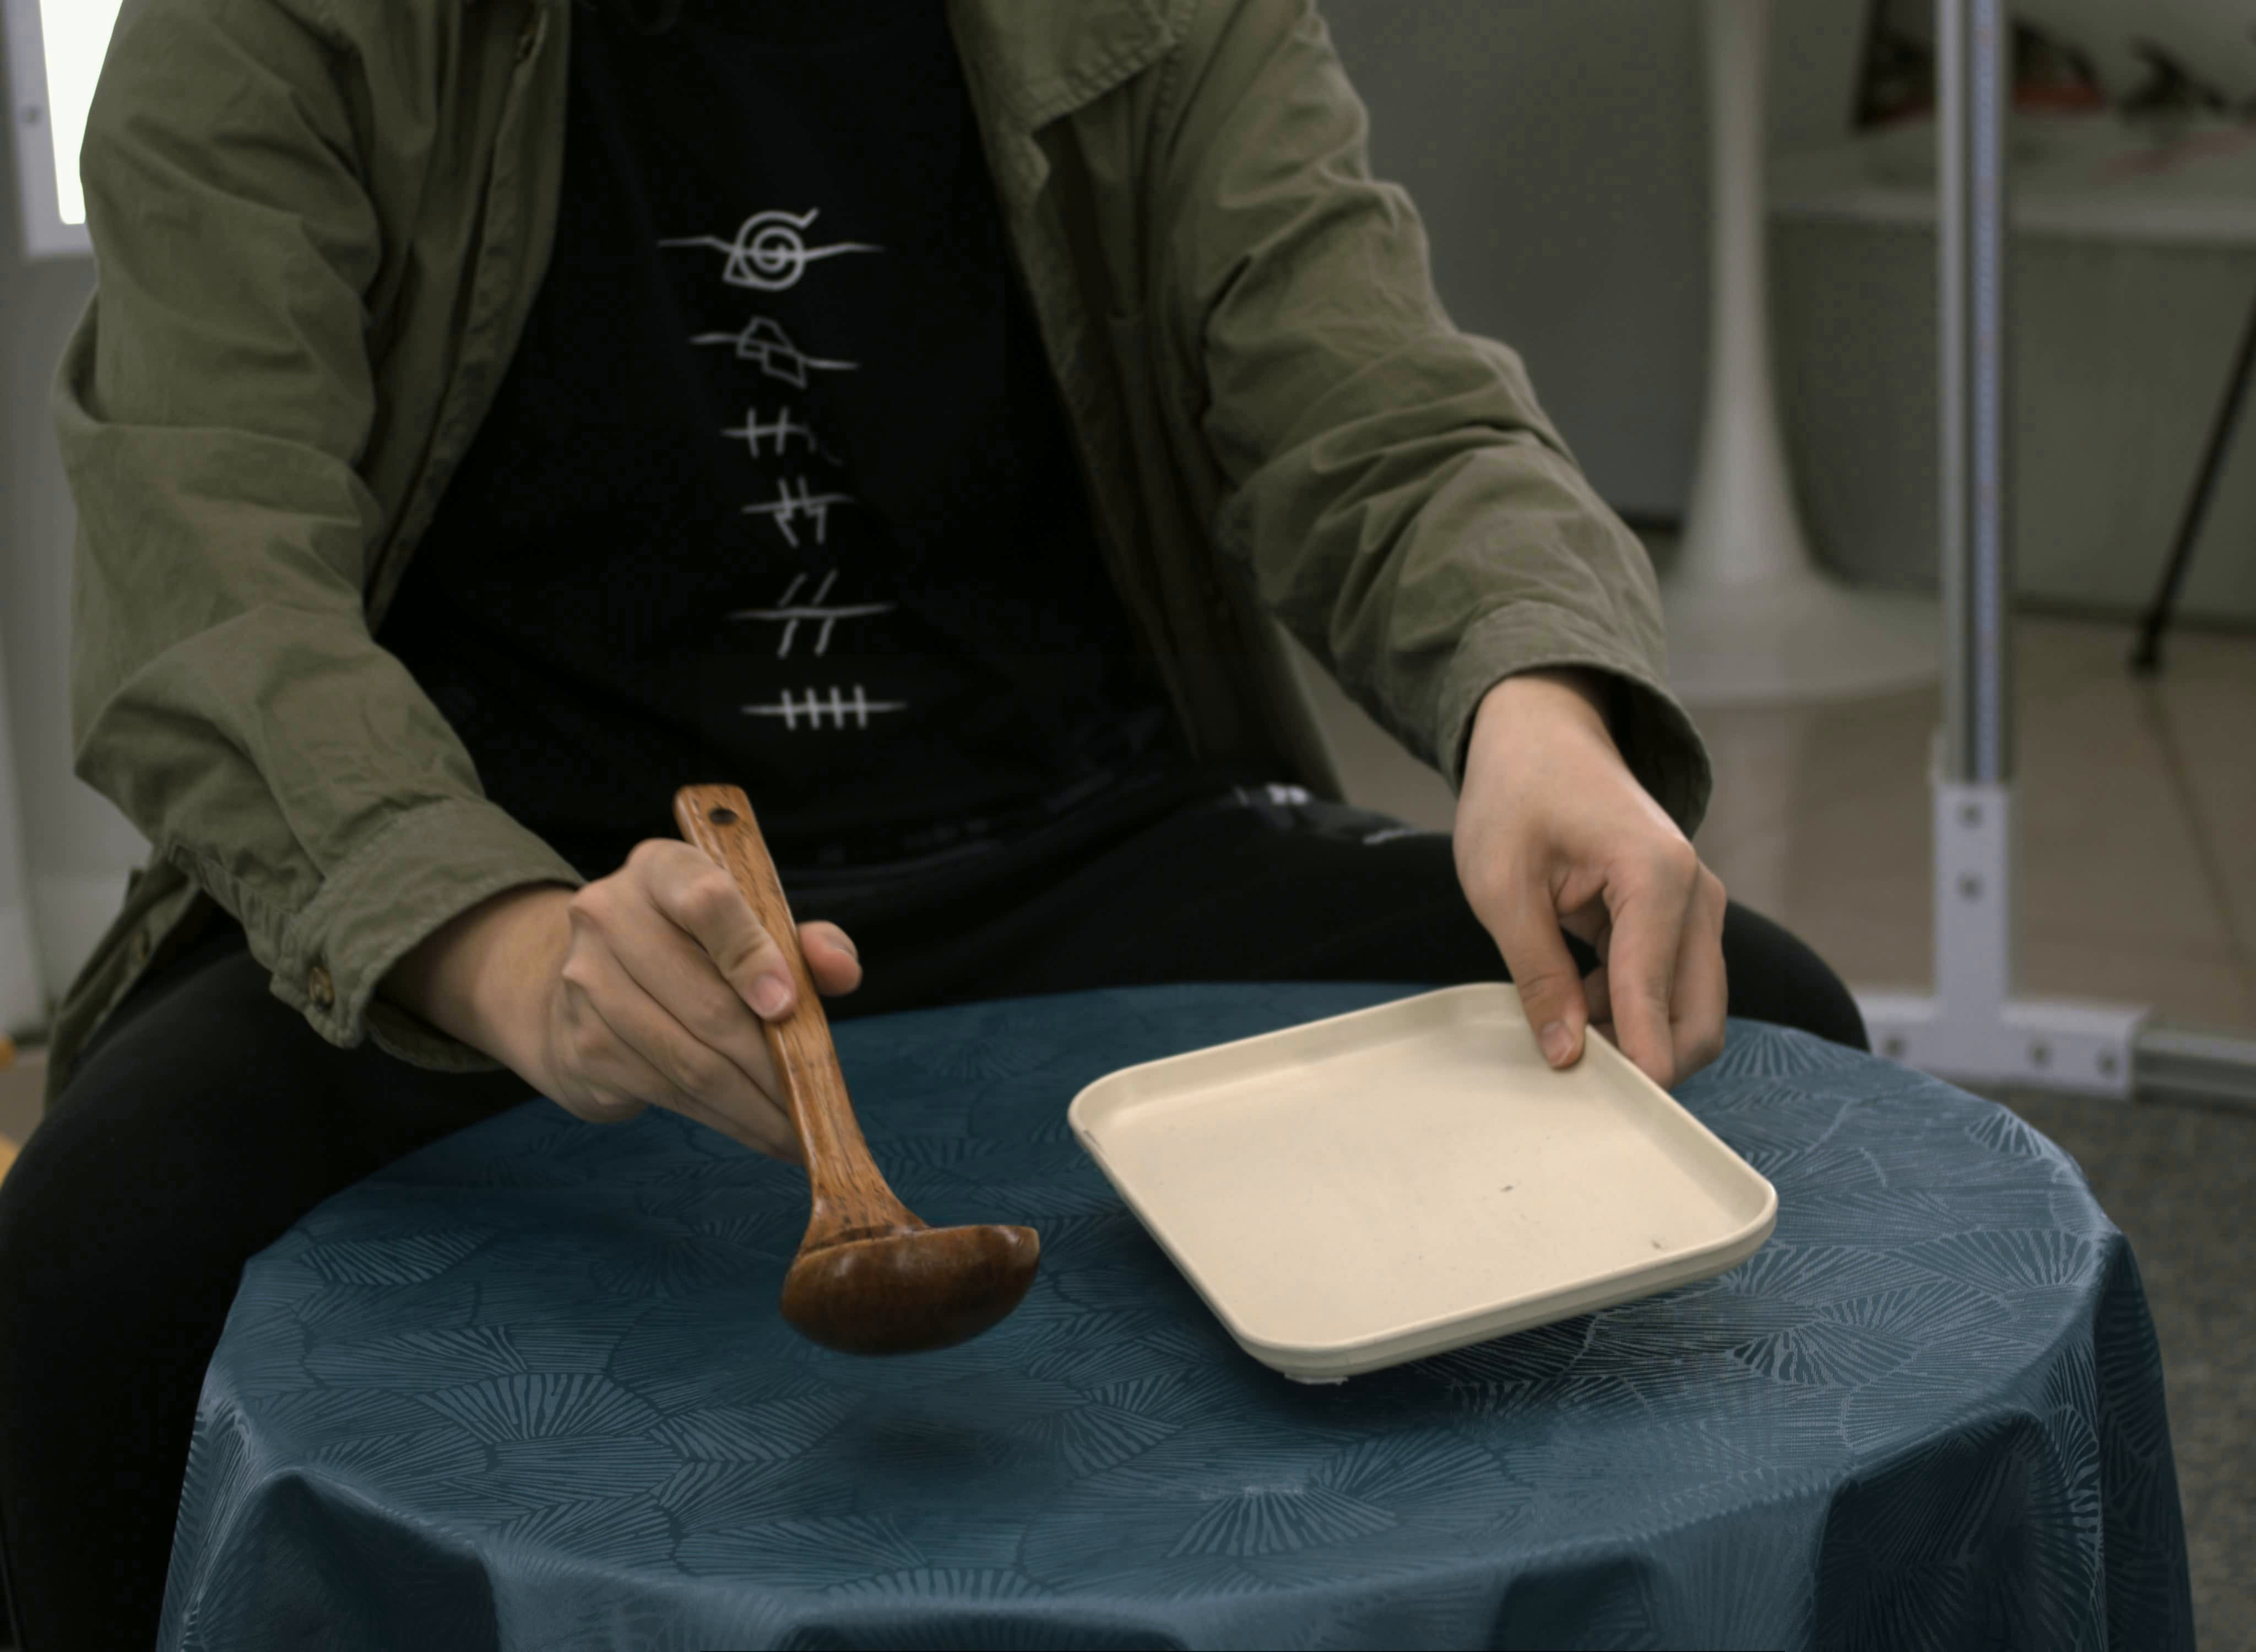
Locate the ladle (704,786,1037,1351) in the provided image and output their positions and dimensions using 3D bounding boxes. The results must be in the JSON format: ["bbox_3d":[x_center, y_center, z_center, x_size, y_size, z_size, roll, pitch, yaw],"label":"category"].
[{"bbox_3d":[-0.091,0.056,1.611,0.080,0.077,0.277,0,41,-17],"label":"ladle"}]

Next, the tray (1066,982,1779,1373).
[{"bbox_3d":[0.087,0.106,1.648,0.168,0.017,0.241,-14,19,-12],"label":"tray"}]
